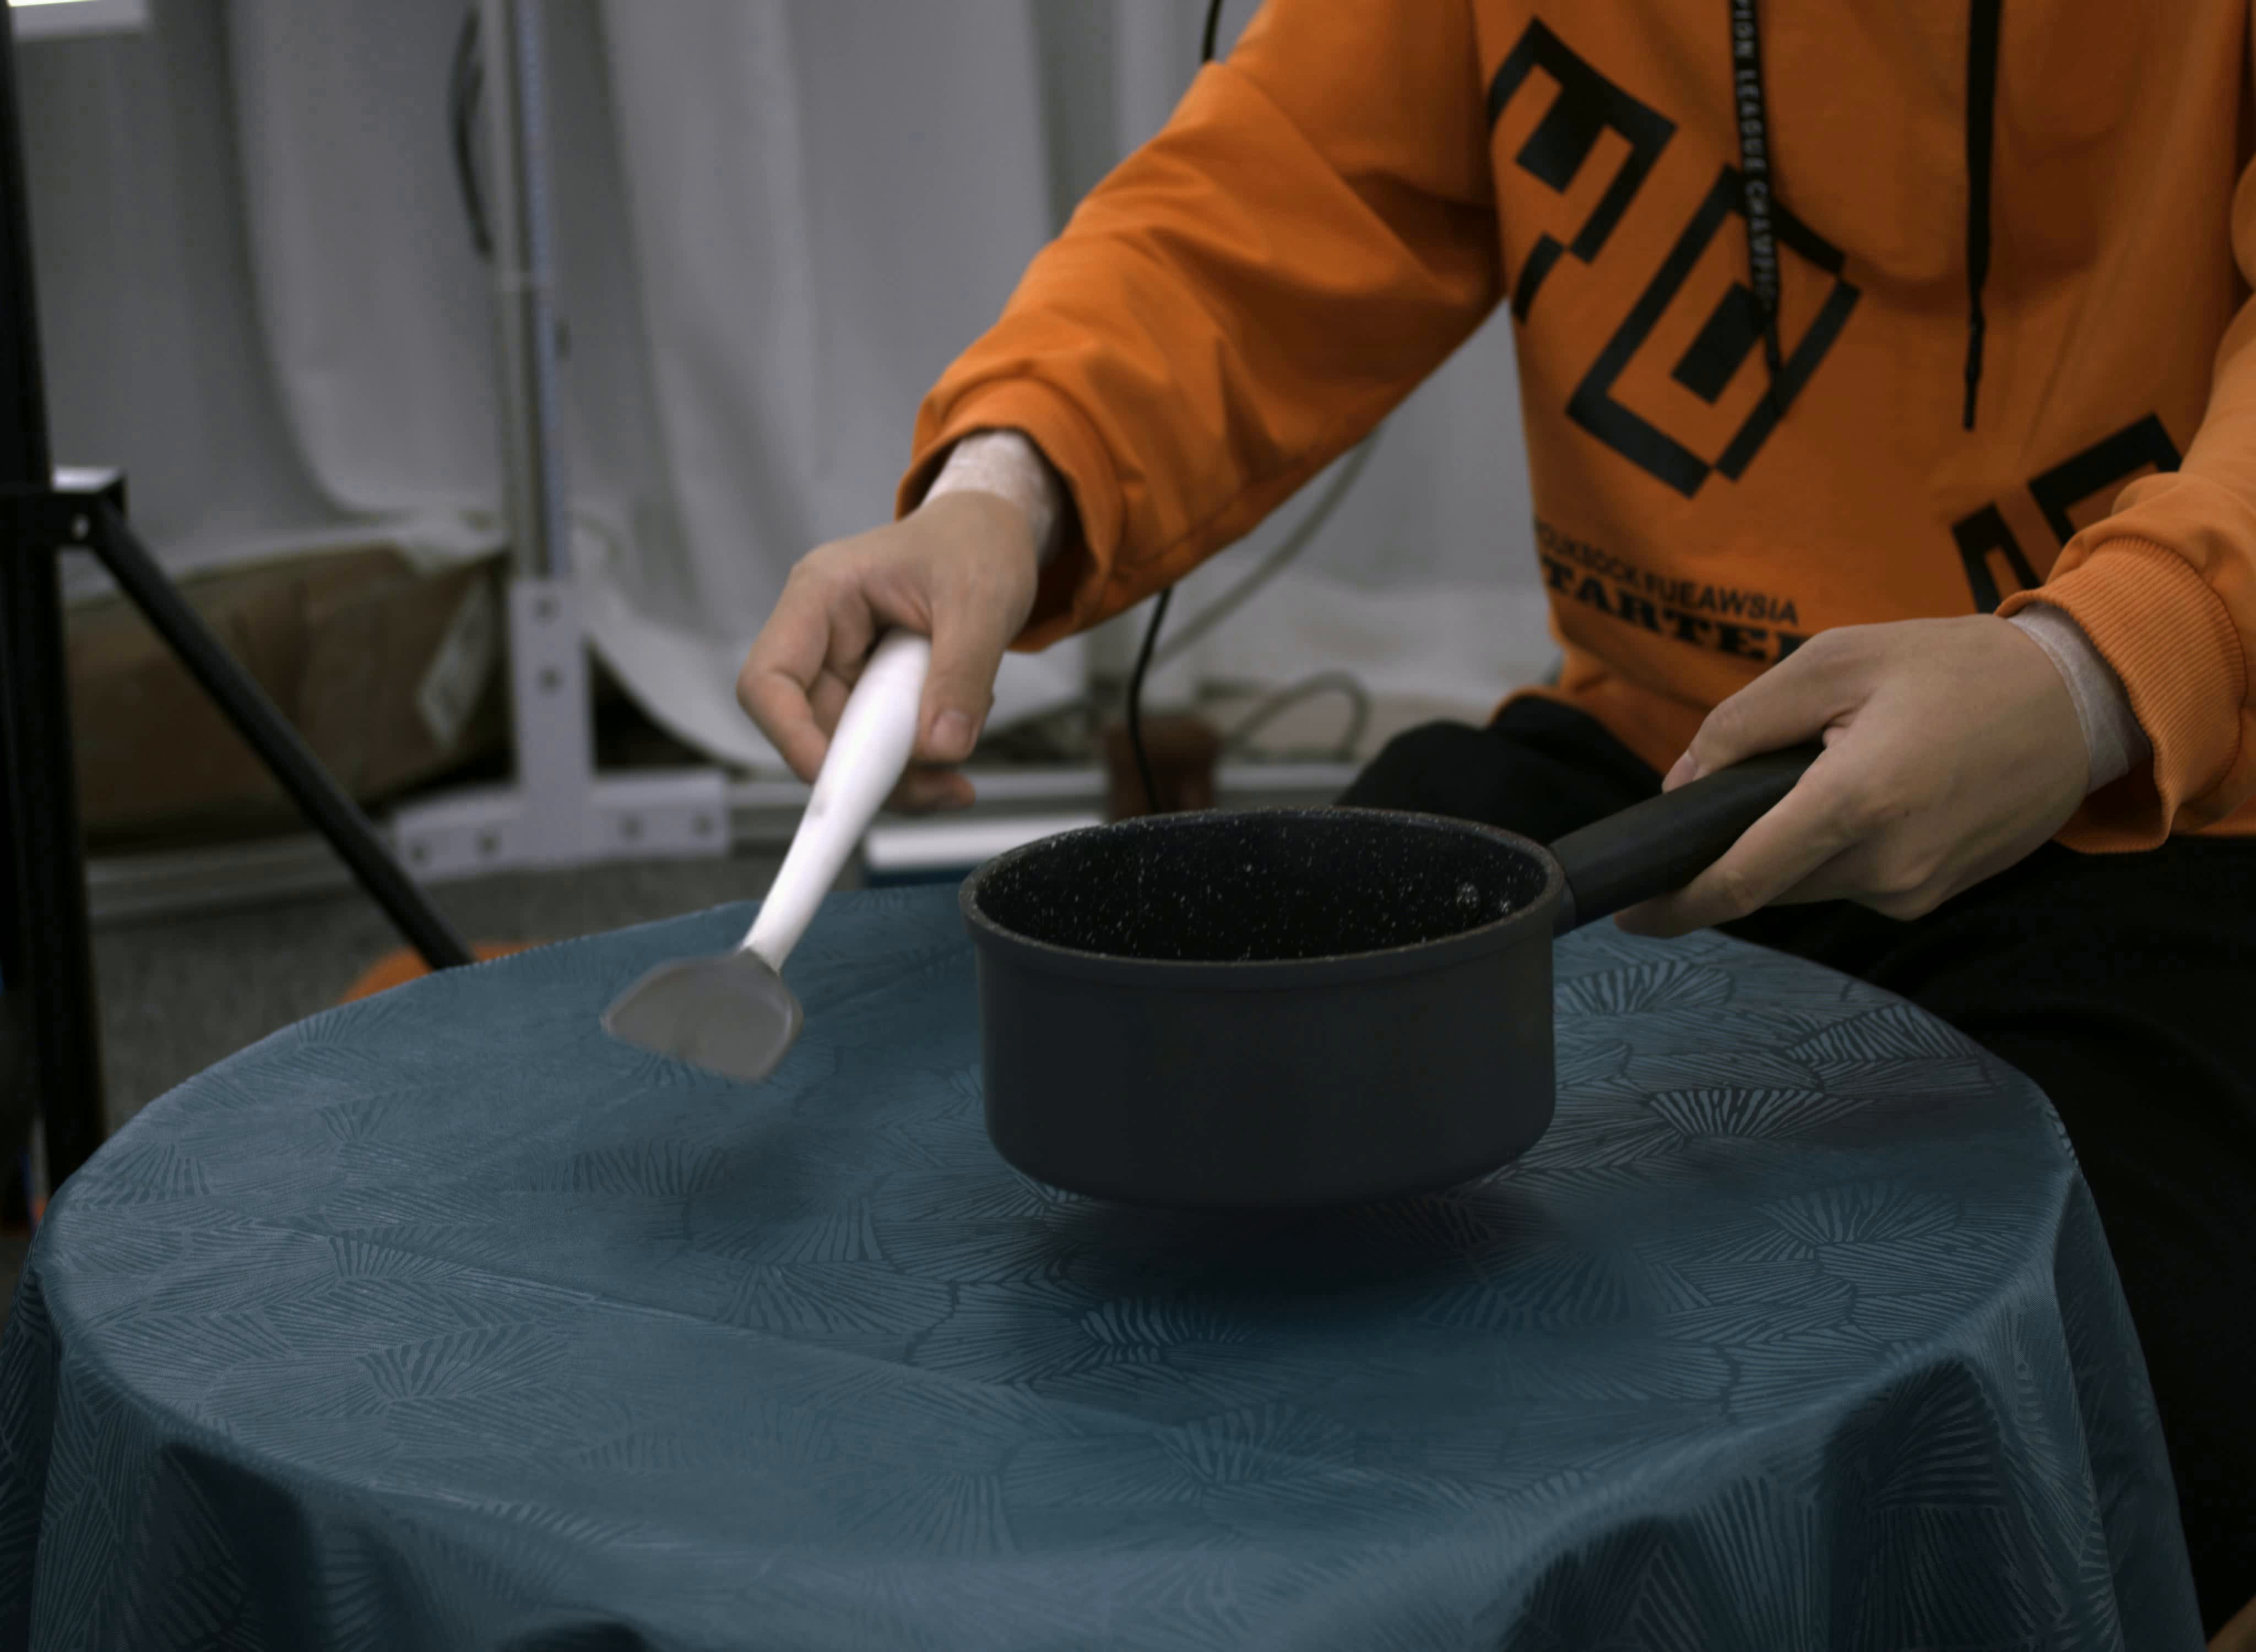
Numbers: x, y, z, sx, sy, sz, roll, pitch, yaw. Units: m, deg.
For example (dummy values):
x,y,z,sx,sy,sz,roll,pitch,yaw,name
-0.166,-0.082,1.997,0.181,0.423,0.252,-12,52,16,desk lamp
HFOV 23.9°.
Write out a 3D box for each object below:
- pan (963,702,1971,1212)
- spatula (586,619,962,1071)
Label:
x,y,z,sx,sy,sz,roll,pitch,yaw,name
0.108,0.034,1.537,0.322,0.086,0.175,-12,17,-27,pan
-0.102,0.009,1.665,0.058,0.032,0.286,21,30,3,spatula
